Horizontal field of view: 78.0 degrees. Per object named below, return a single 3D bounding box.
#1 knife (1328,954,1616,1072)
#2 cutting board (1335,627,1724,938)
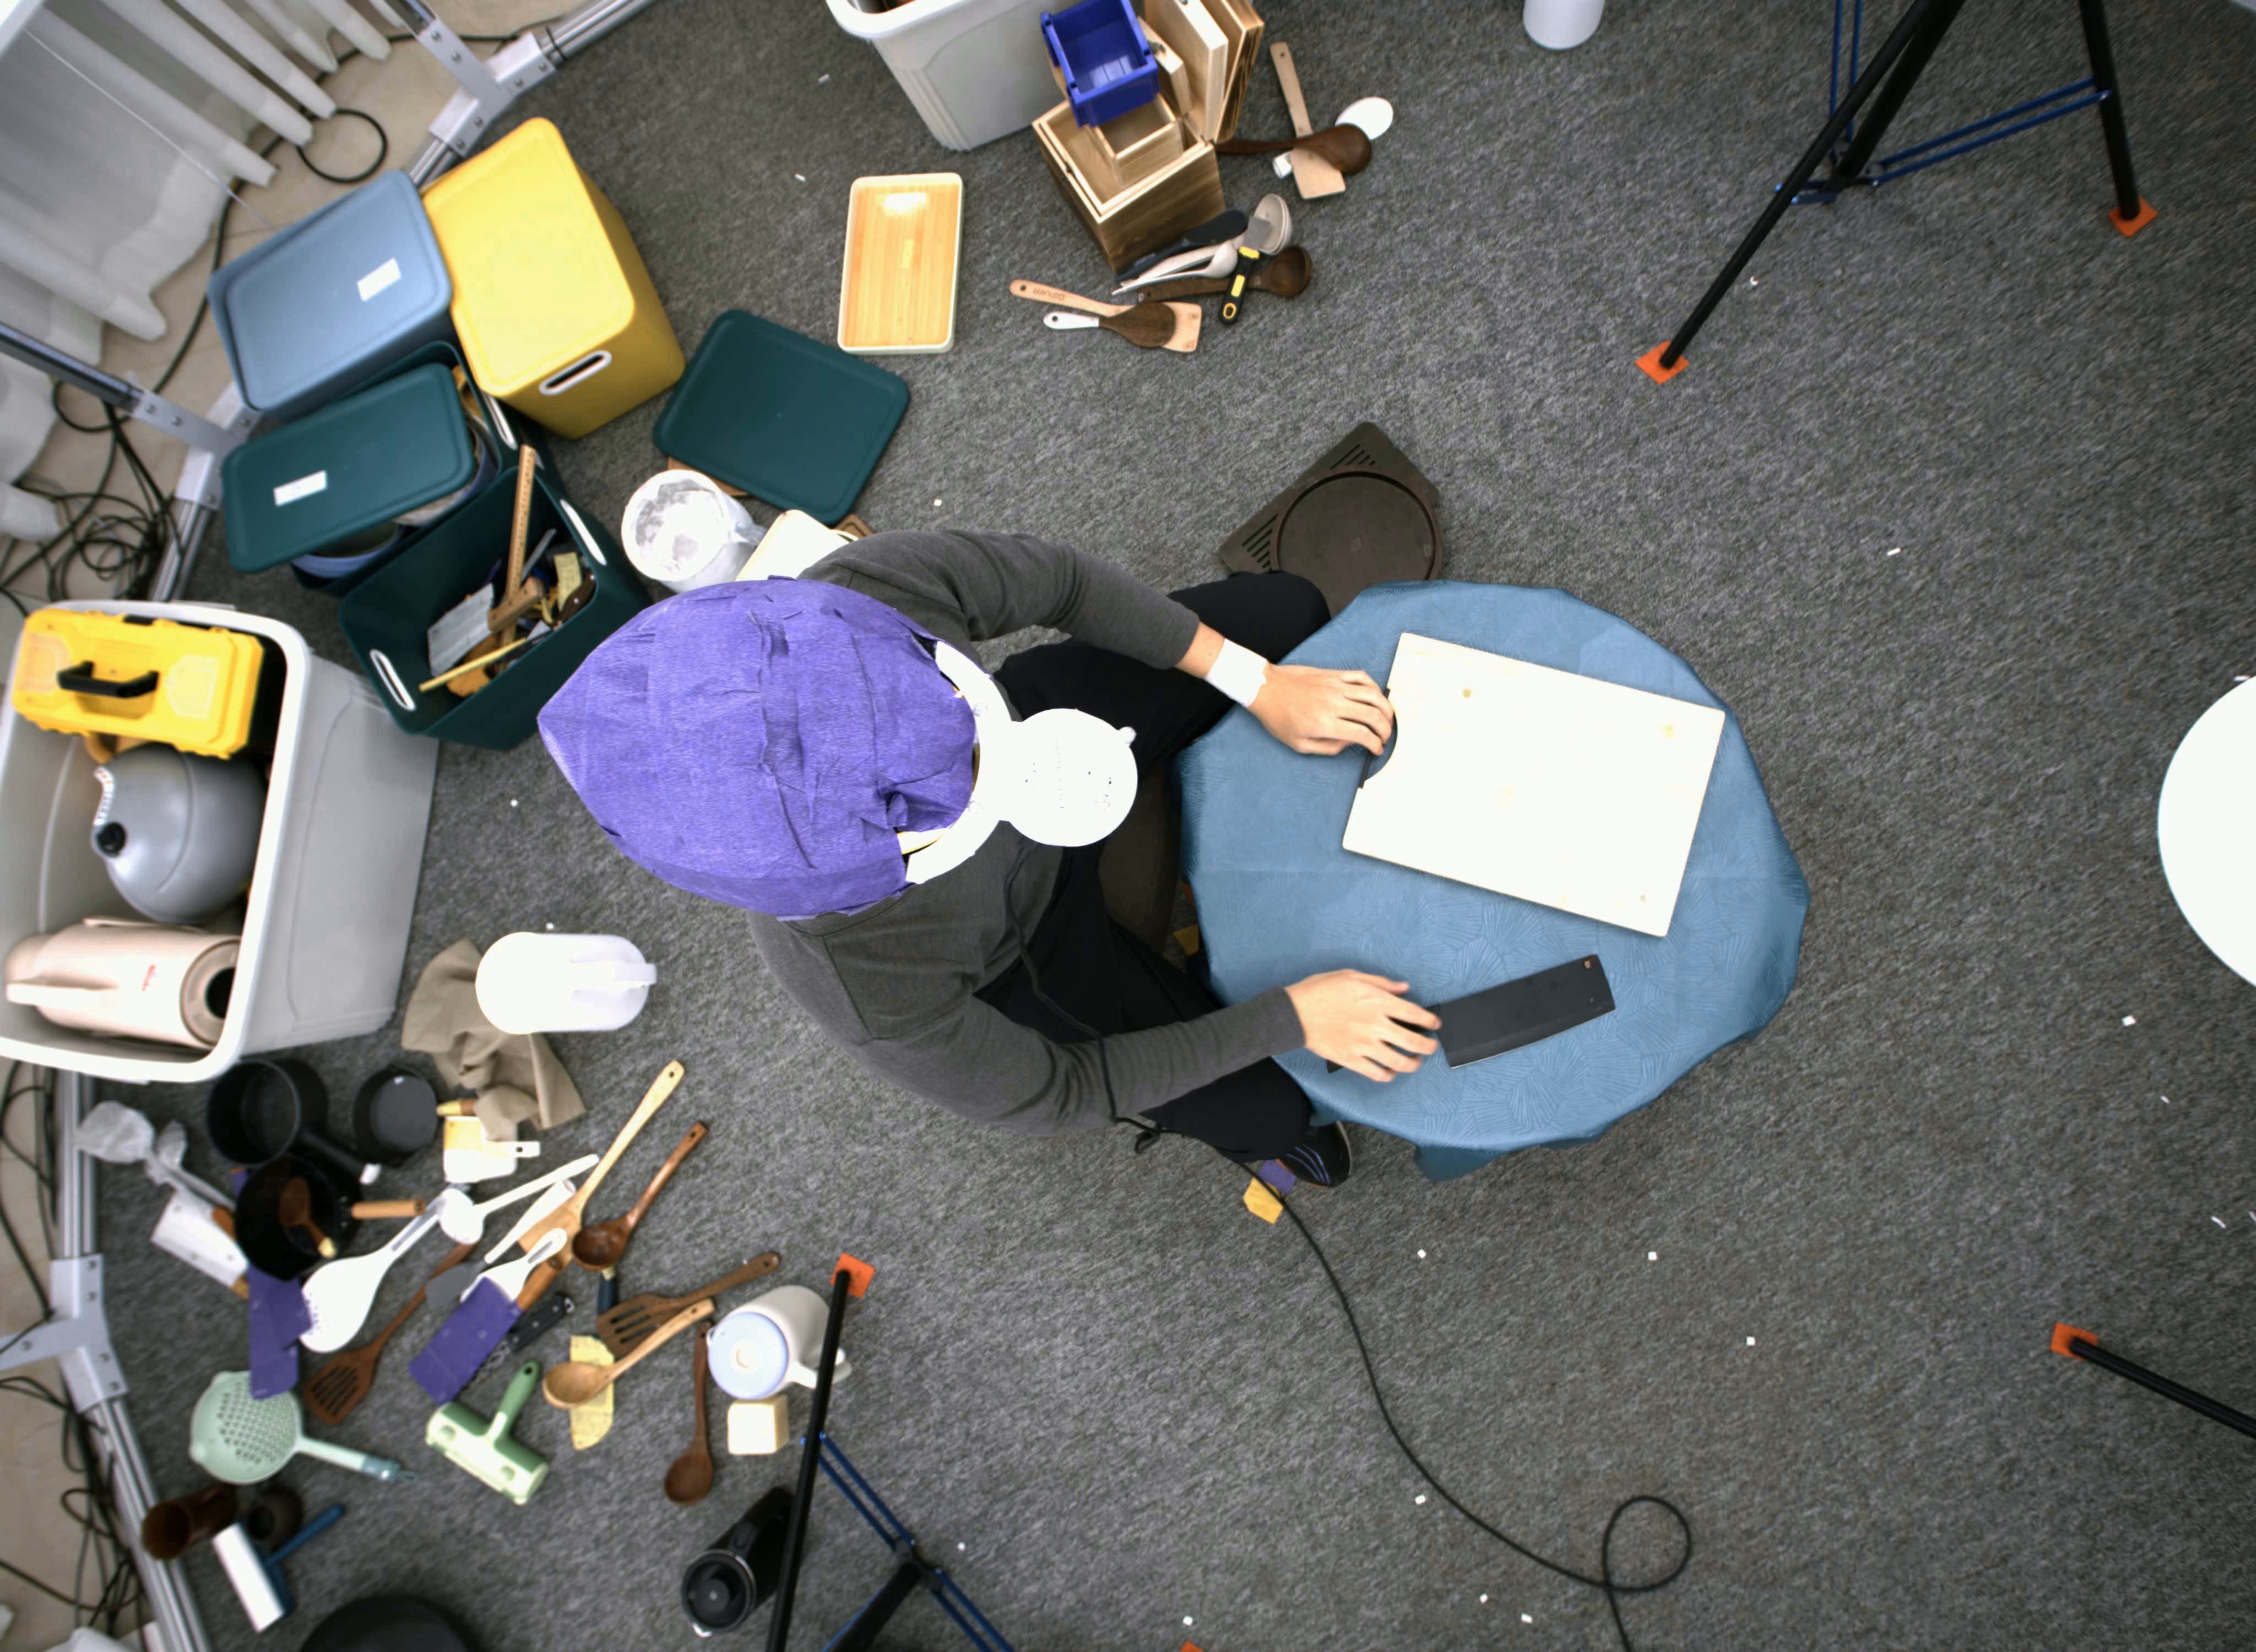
[{"bbox_3d":[0.352,0.204,1.430,0.304,0.021,0.080,-15,85,8],"label":"knife"},{"bbox_3d":[0.415,-0.050,1.431,0.349,0.023,0.250,15,89,11],"label":"cutting board"}]
